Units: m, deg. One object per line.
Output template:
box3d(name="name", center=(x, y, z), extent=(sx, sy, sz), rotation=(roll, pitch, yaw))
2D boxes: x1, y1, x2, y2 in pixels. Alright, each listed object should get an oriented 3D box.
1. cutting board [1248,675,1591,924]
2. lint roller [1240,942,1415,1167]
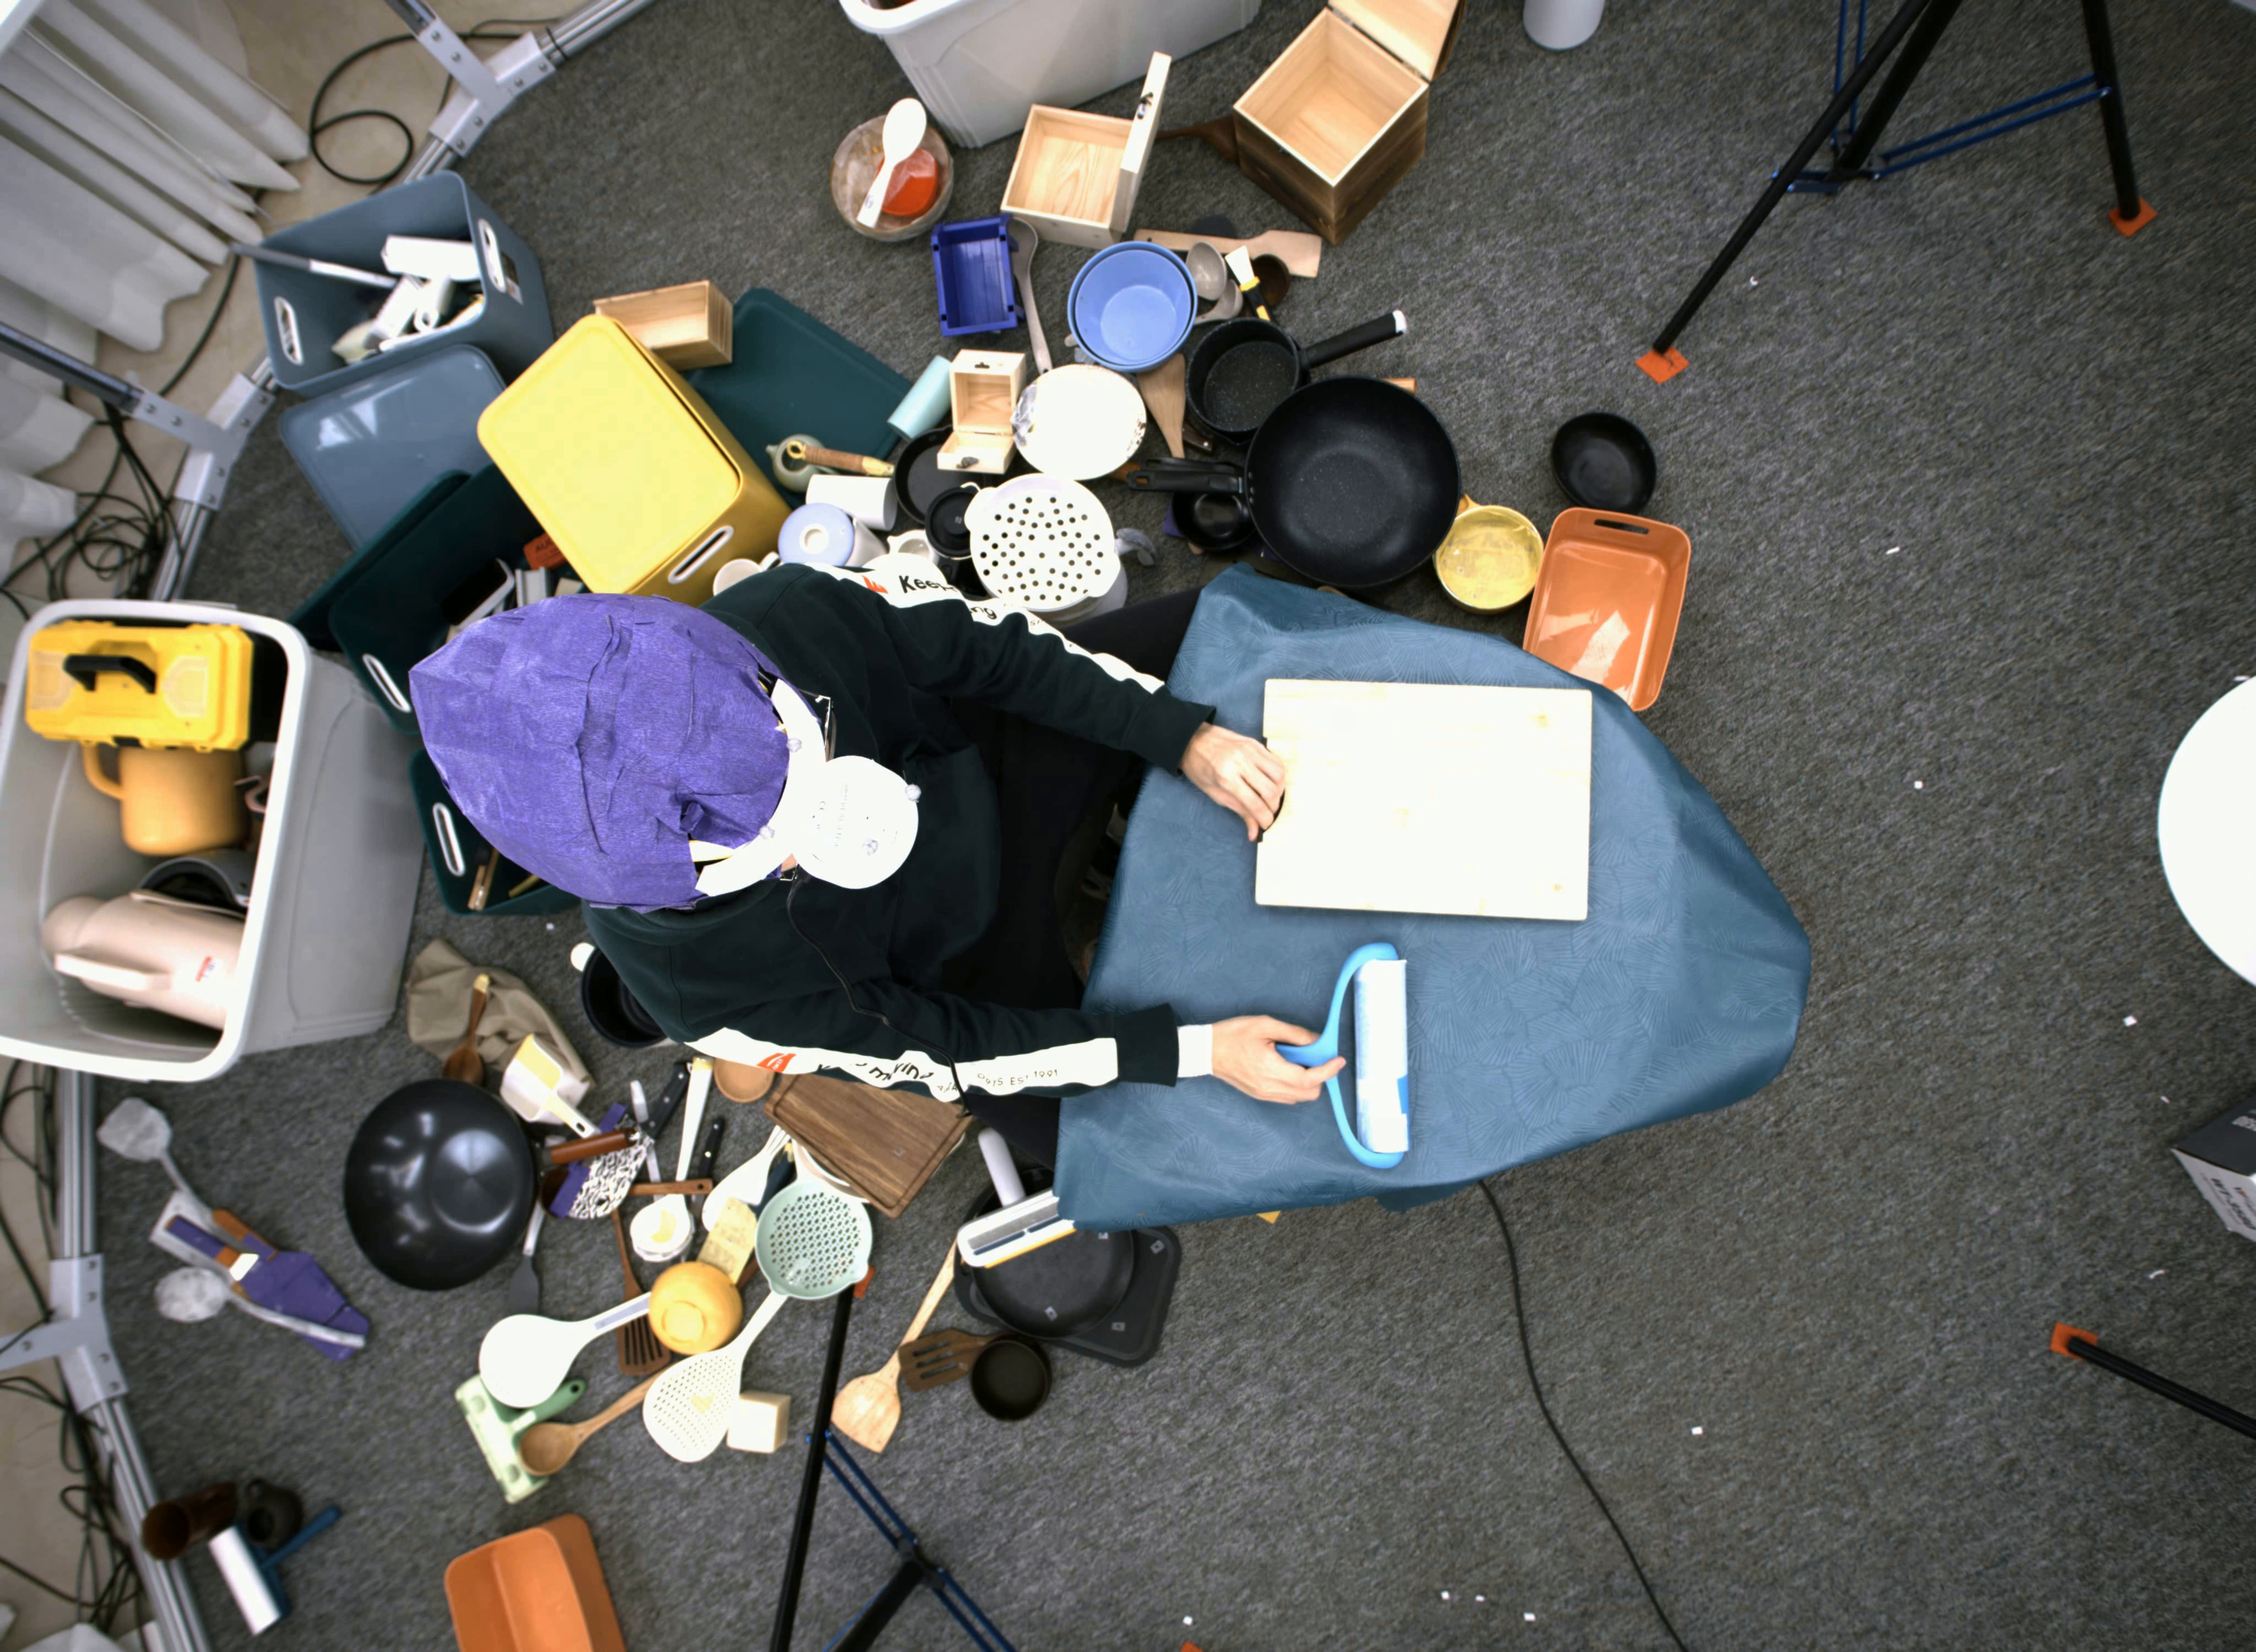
box3d(name="cutting board", center=(0.303, -0.031, 1.435), extent=(0.349, 0.023, 0.249), rotation=(2, 87, 7))
box3d(name="lint roller", center=(0.204, 0.237, 1.430), extent=(0.181, 0.068, 0.228), rotation=(-5, 87, 9))
